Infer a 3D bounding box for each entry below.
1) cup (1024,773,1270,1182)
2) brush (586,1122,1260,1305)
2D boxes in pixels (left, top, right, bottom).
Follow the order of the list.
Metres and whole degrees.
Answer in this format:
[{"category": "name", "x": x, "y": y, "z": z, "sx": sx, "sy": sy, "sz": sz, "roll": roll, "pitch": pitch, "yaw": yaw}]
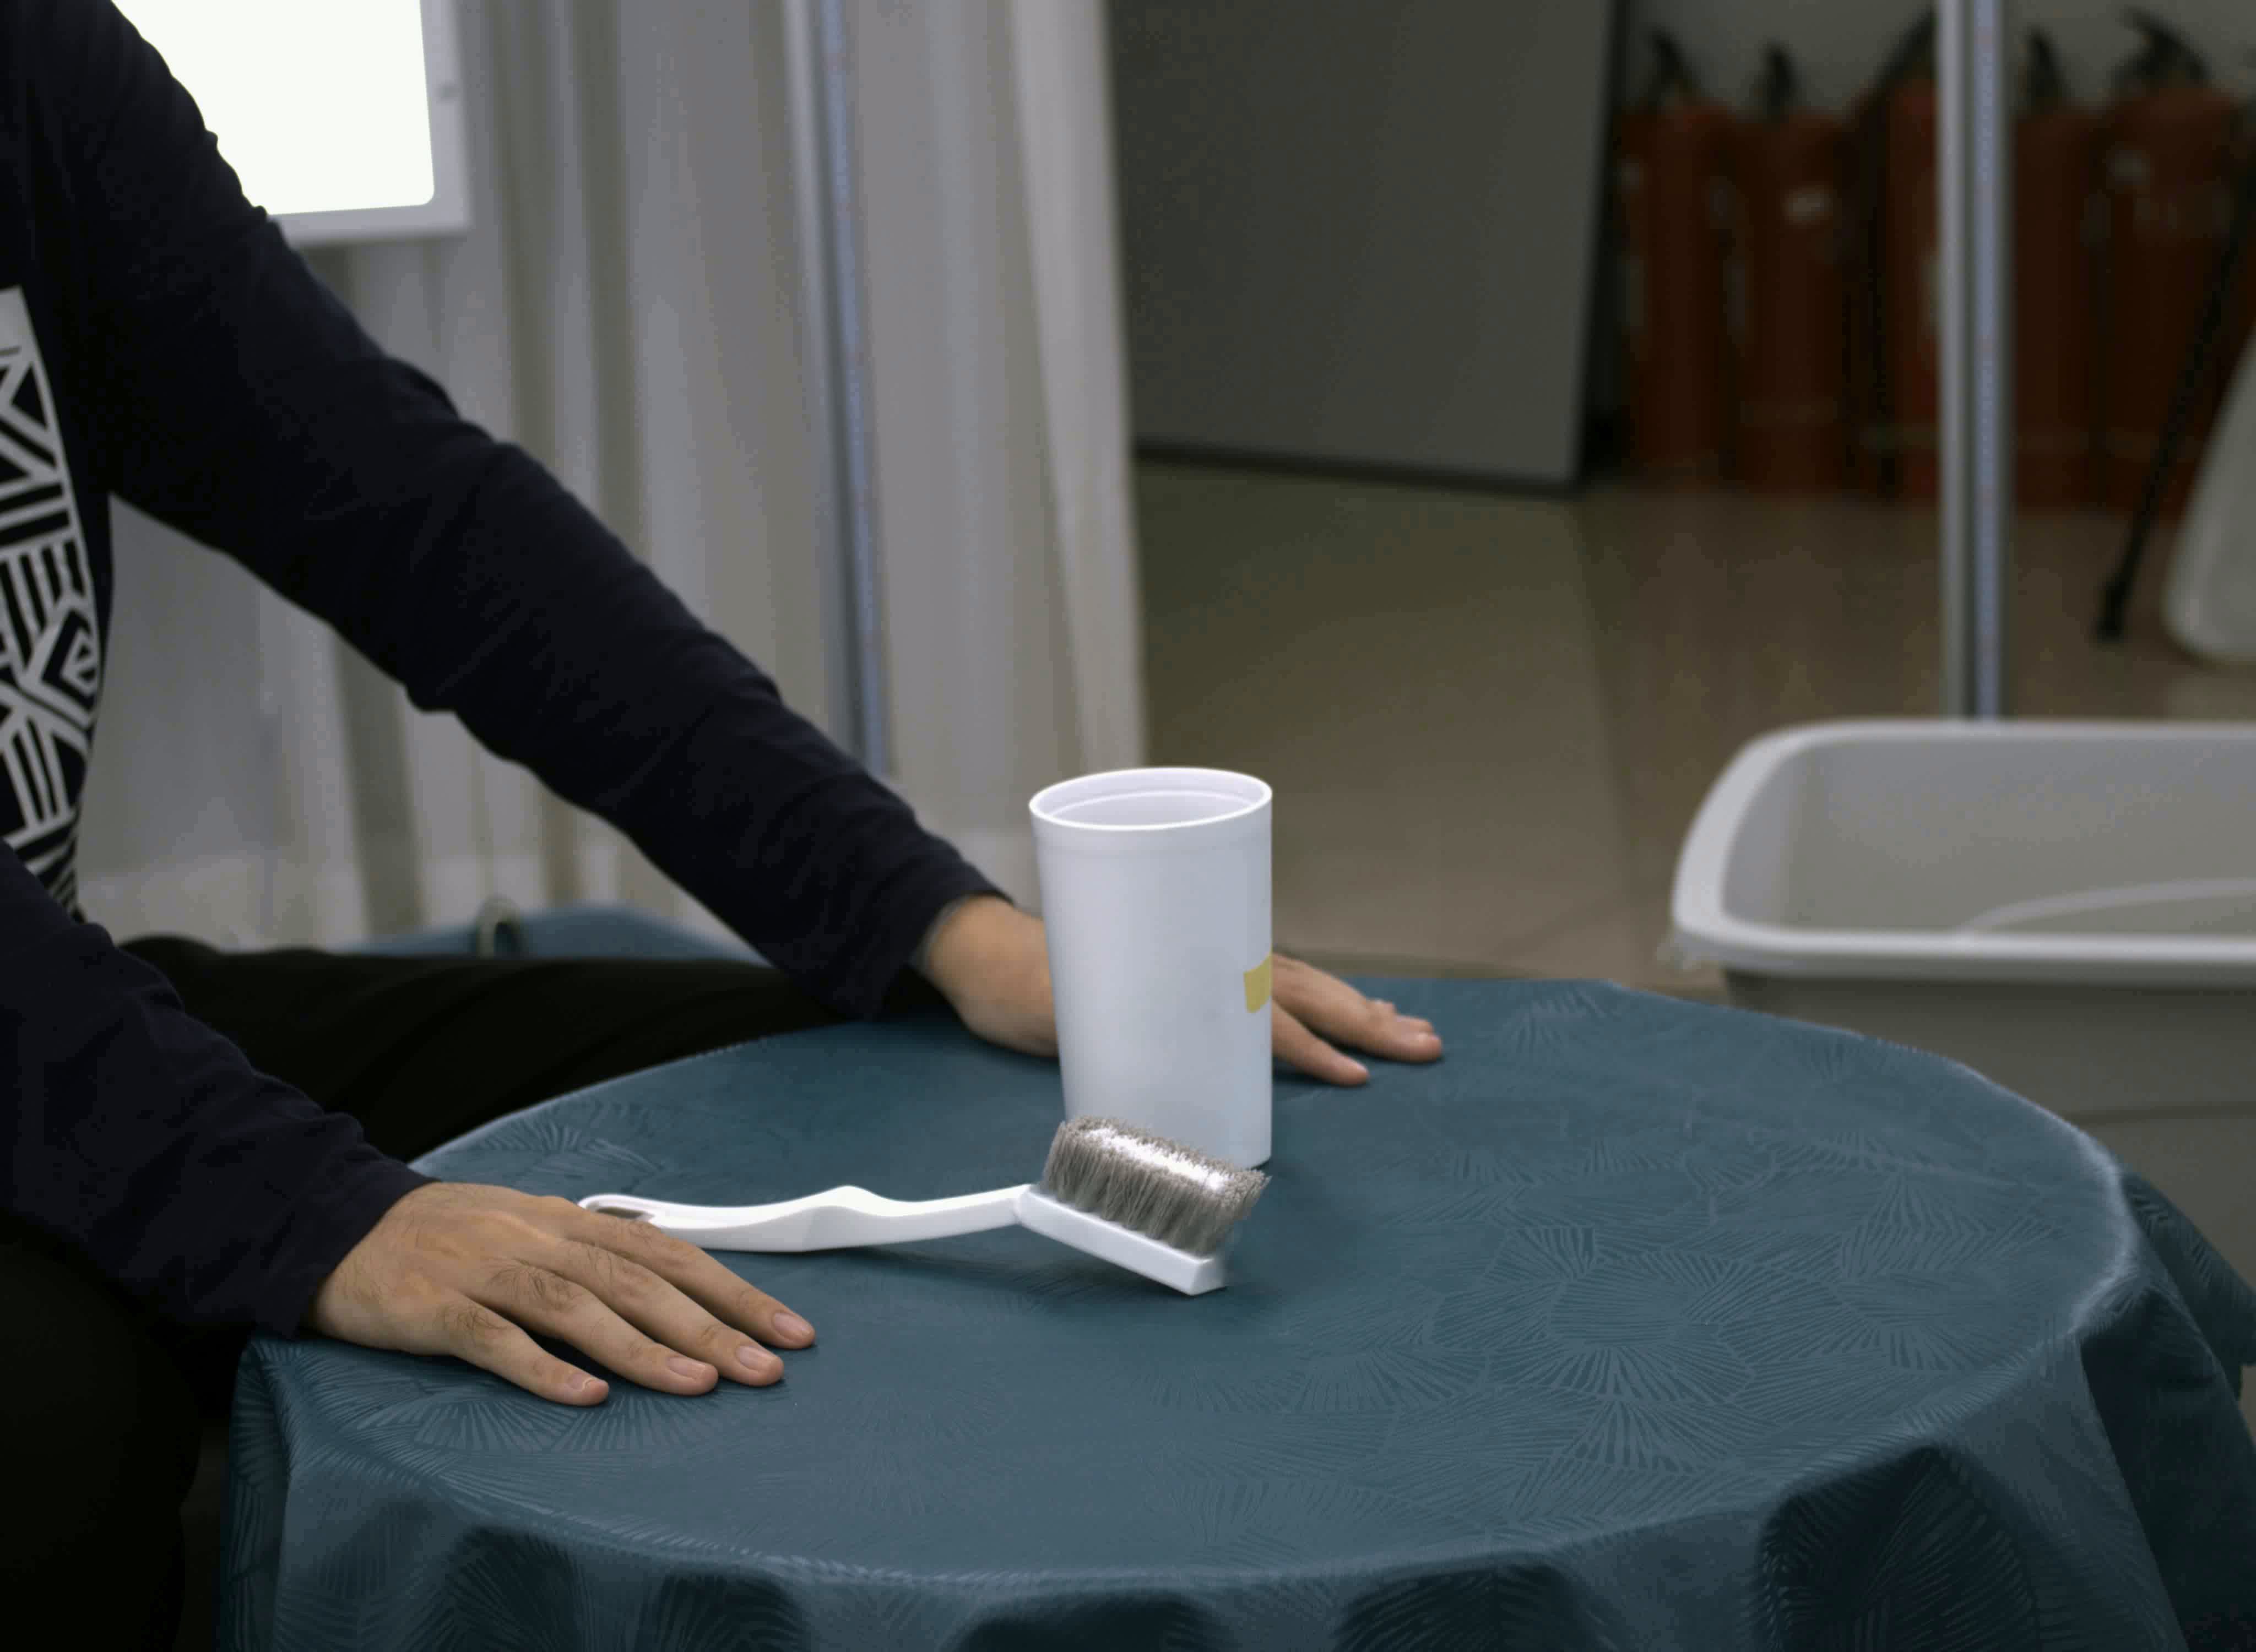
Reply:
[{"category": "cup", "x": 0.010, "y": 0.052, "z": 1.796, "sx": 0.080, "sy": 0.127, "sz": 0.082, "roll": -5, "pitch": 12, "yaw": 0}, {"category": "brush", "x": -0.070, "y": 0.115, "z": 1.719, "sx": 0.244, "sy": 0.051, "sz": 0.034, "roll": 4, "pitch": 18, "yaw": 28}]
